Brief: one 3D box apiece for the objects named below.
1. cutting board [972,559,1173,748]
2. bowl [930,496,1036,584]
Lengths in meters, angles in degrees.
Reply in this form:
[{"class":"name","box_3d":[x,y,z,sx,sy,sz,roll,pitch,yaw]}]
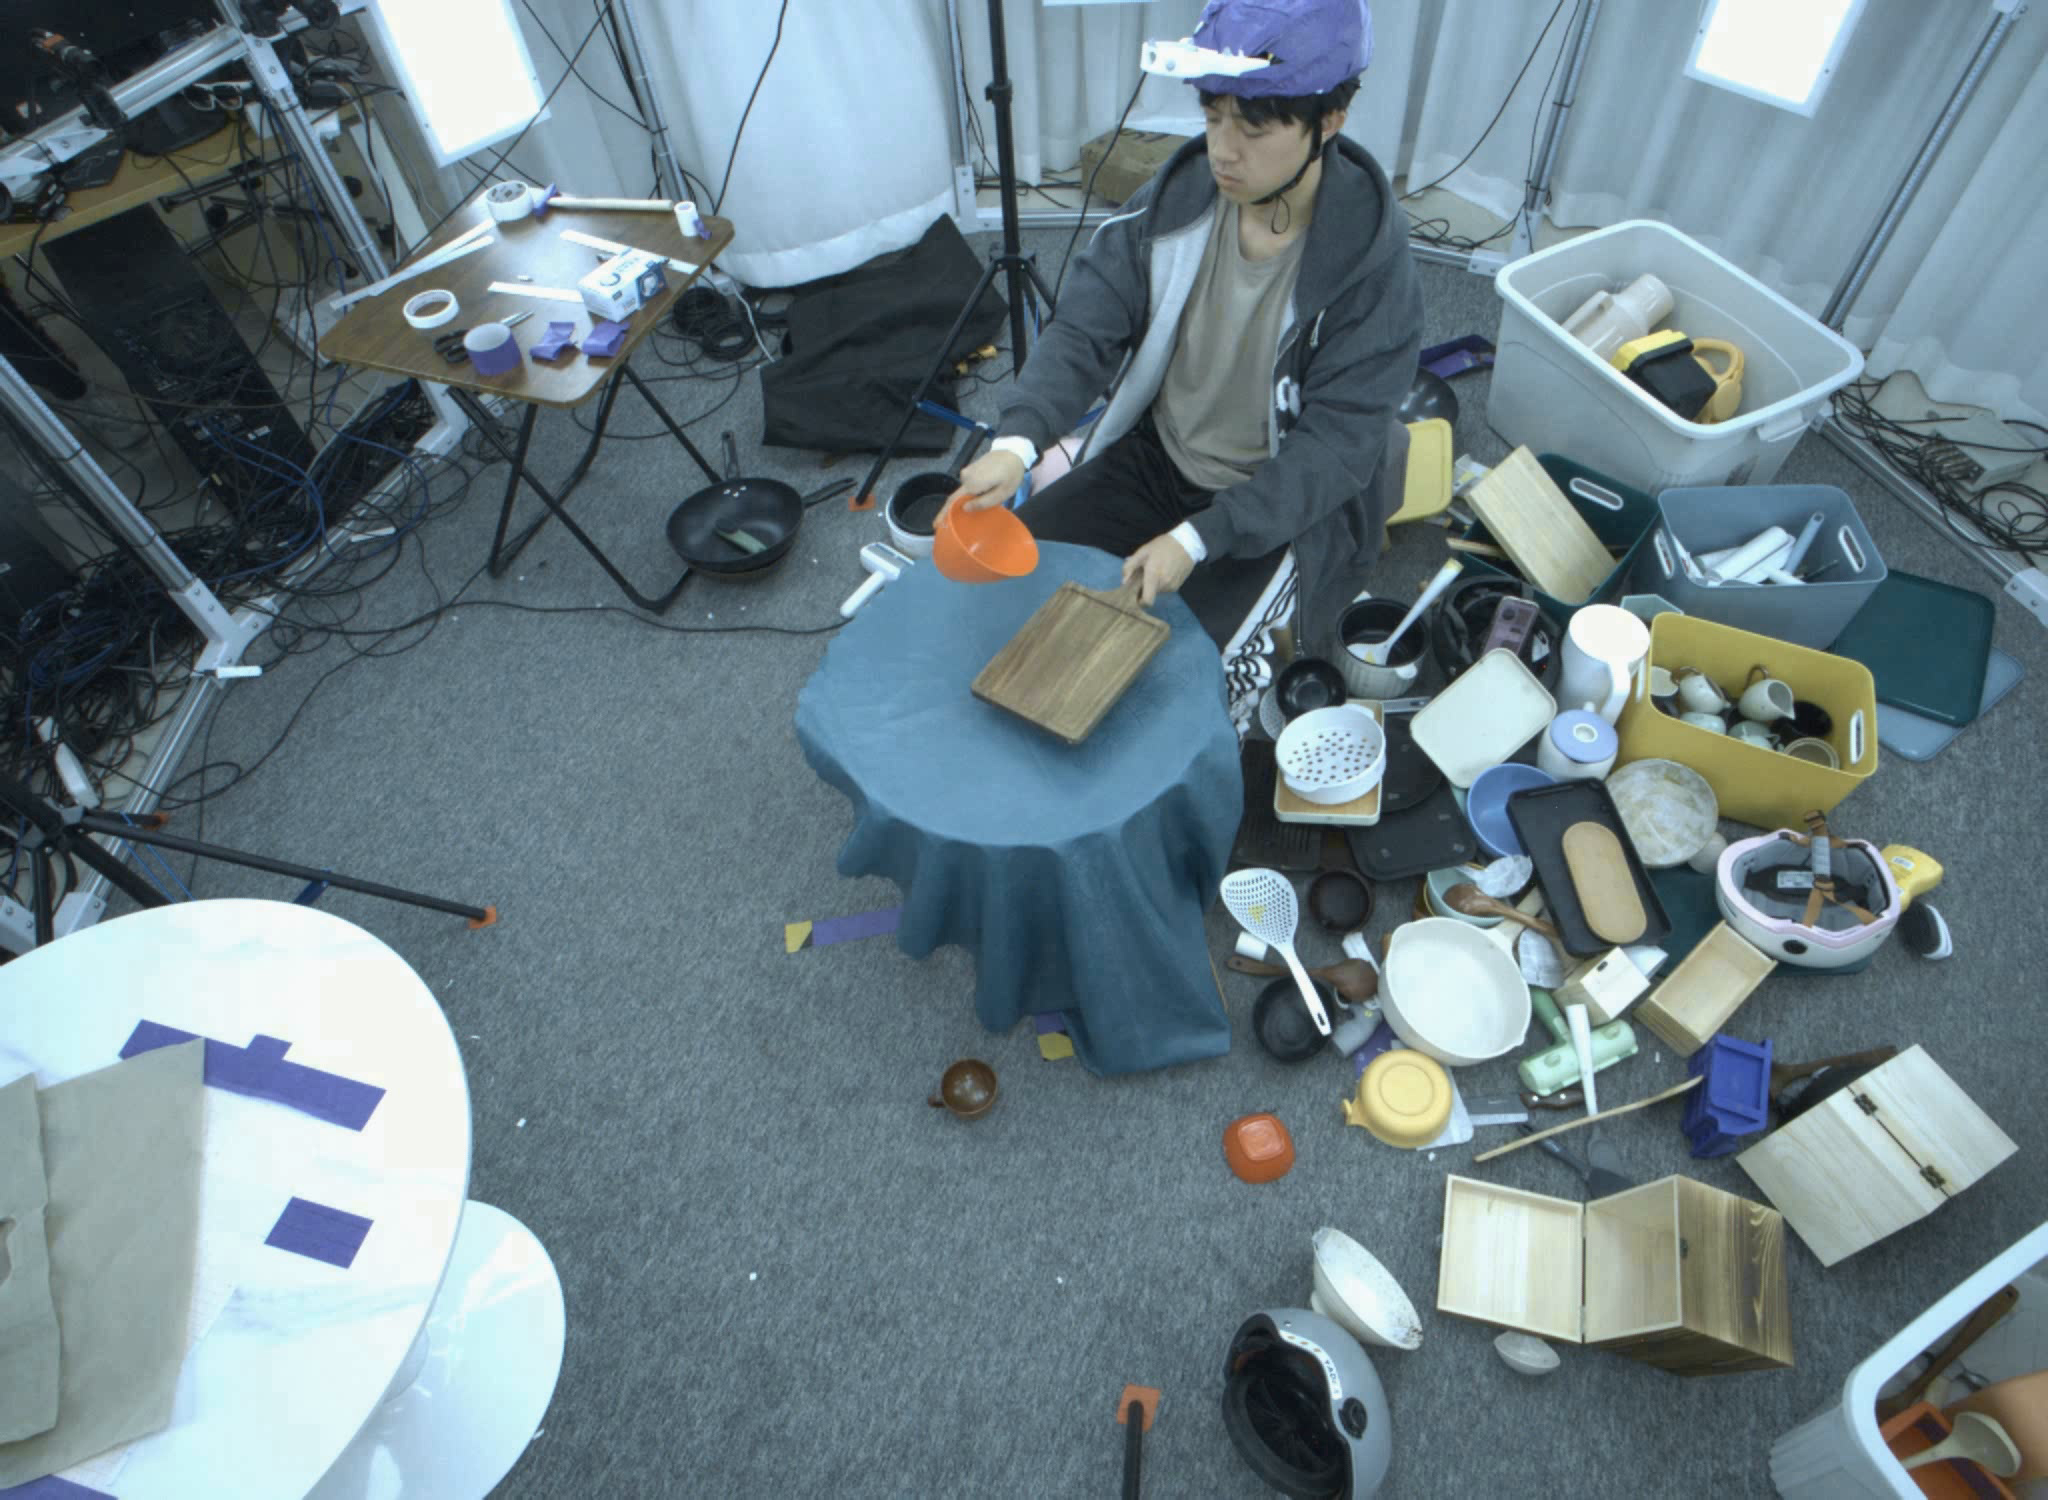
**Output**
[{"class":"cutting board","box_3d":[0.101,-0.165,1.829,0.197,0.023,0.353,28,63,25]},{"class":"bowl","box_3d":[-0.073,-0.286,1.760,0.151,0.103,0.146,26,49,-32]}]
